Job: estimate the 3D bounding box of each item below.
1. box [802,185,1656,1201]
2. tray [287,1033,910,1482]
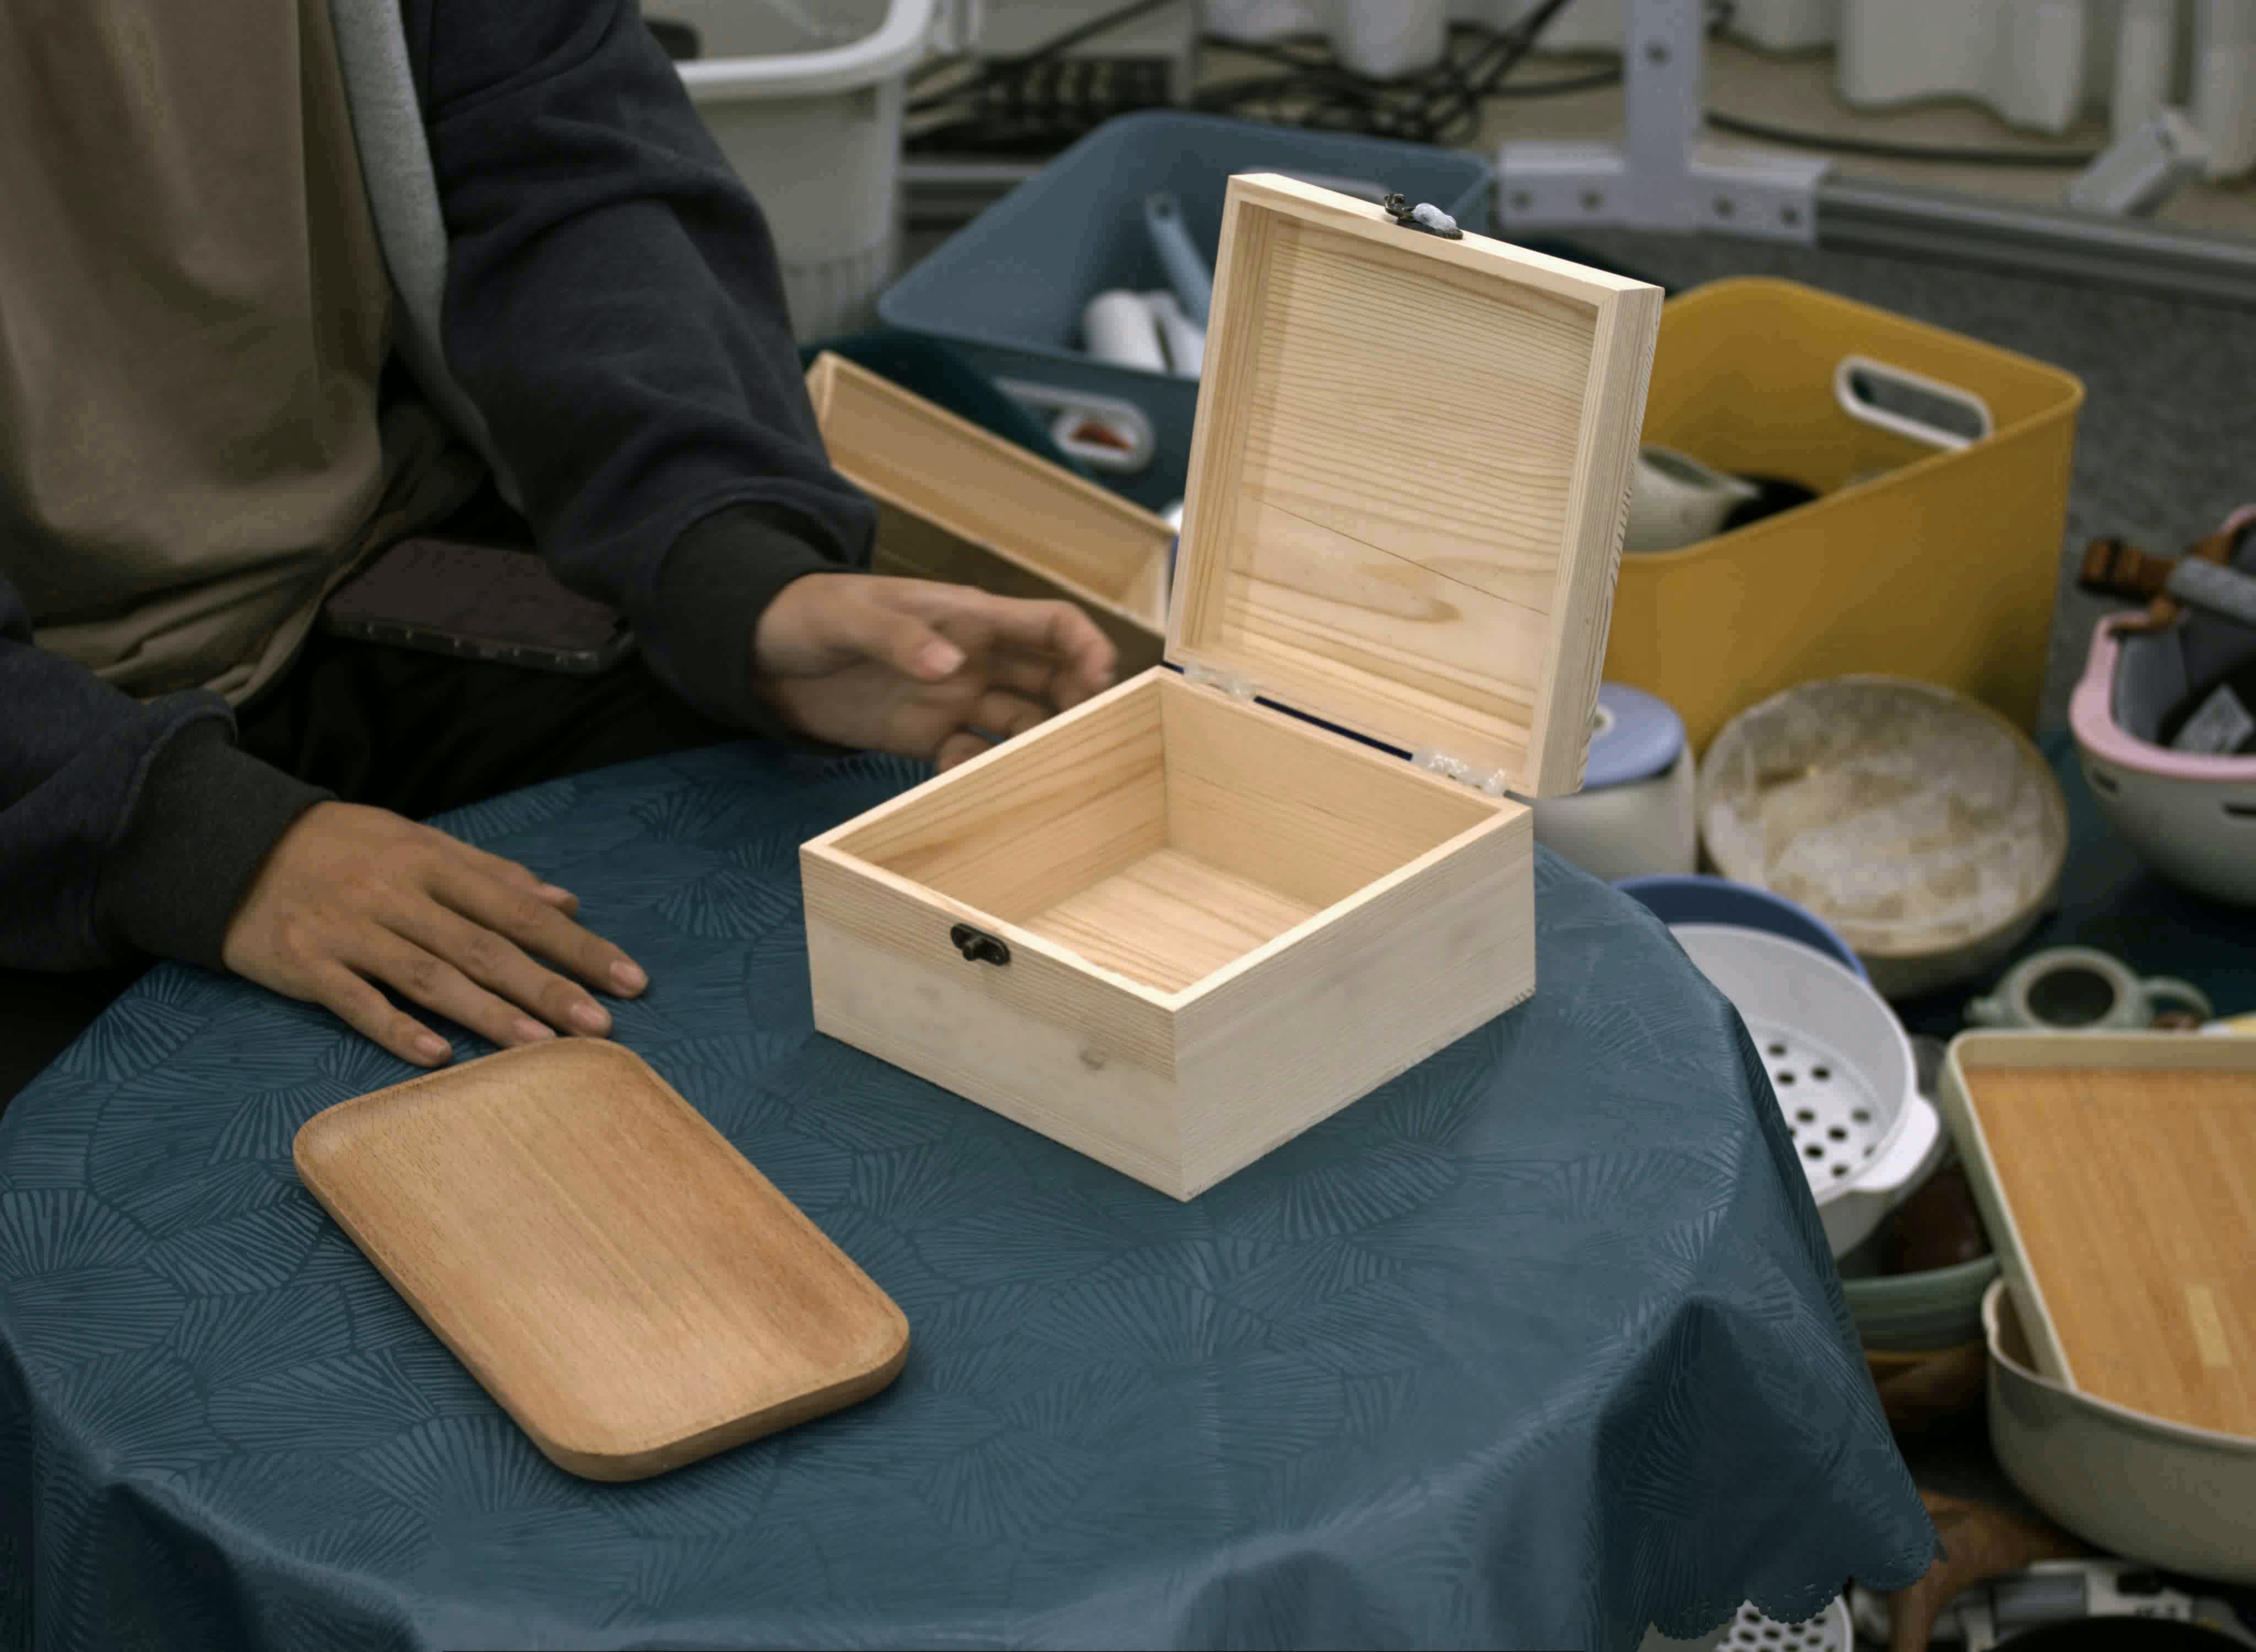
[{"bbox_3d":[0.034,-0.055,1.939,0.181,0.251,0.268,17,32,40],"label":"box"},{"bbox_3d":[-0.175,0.138,1.829,0.131,0.022,0.252,-14,29,-26],"label":"tray"}]
